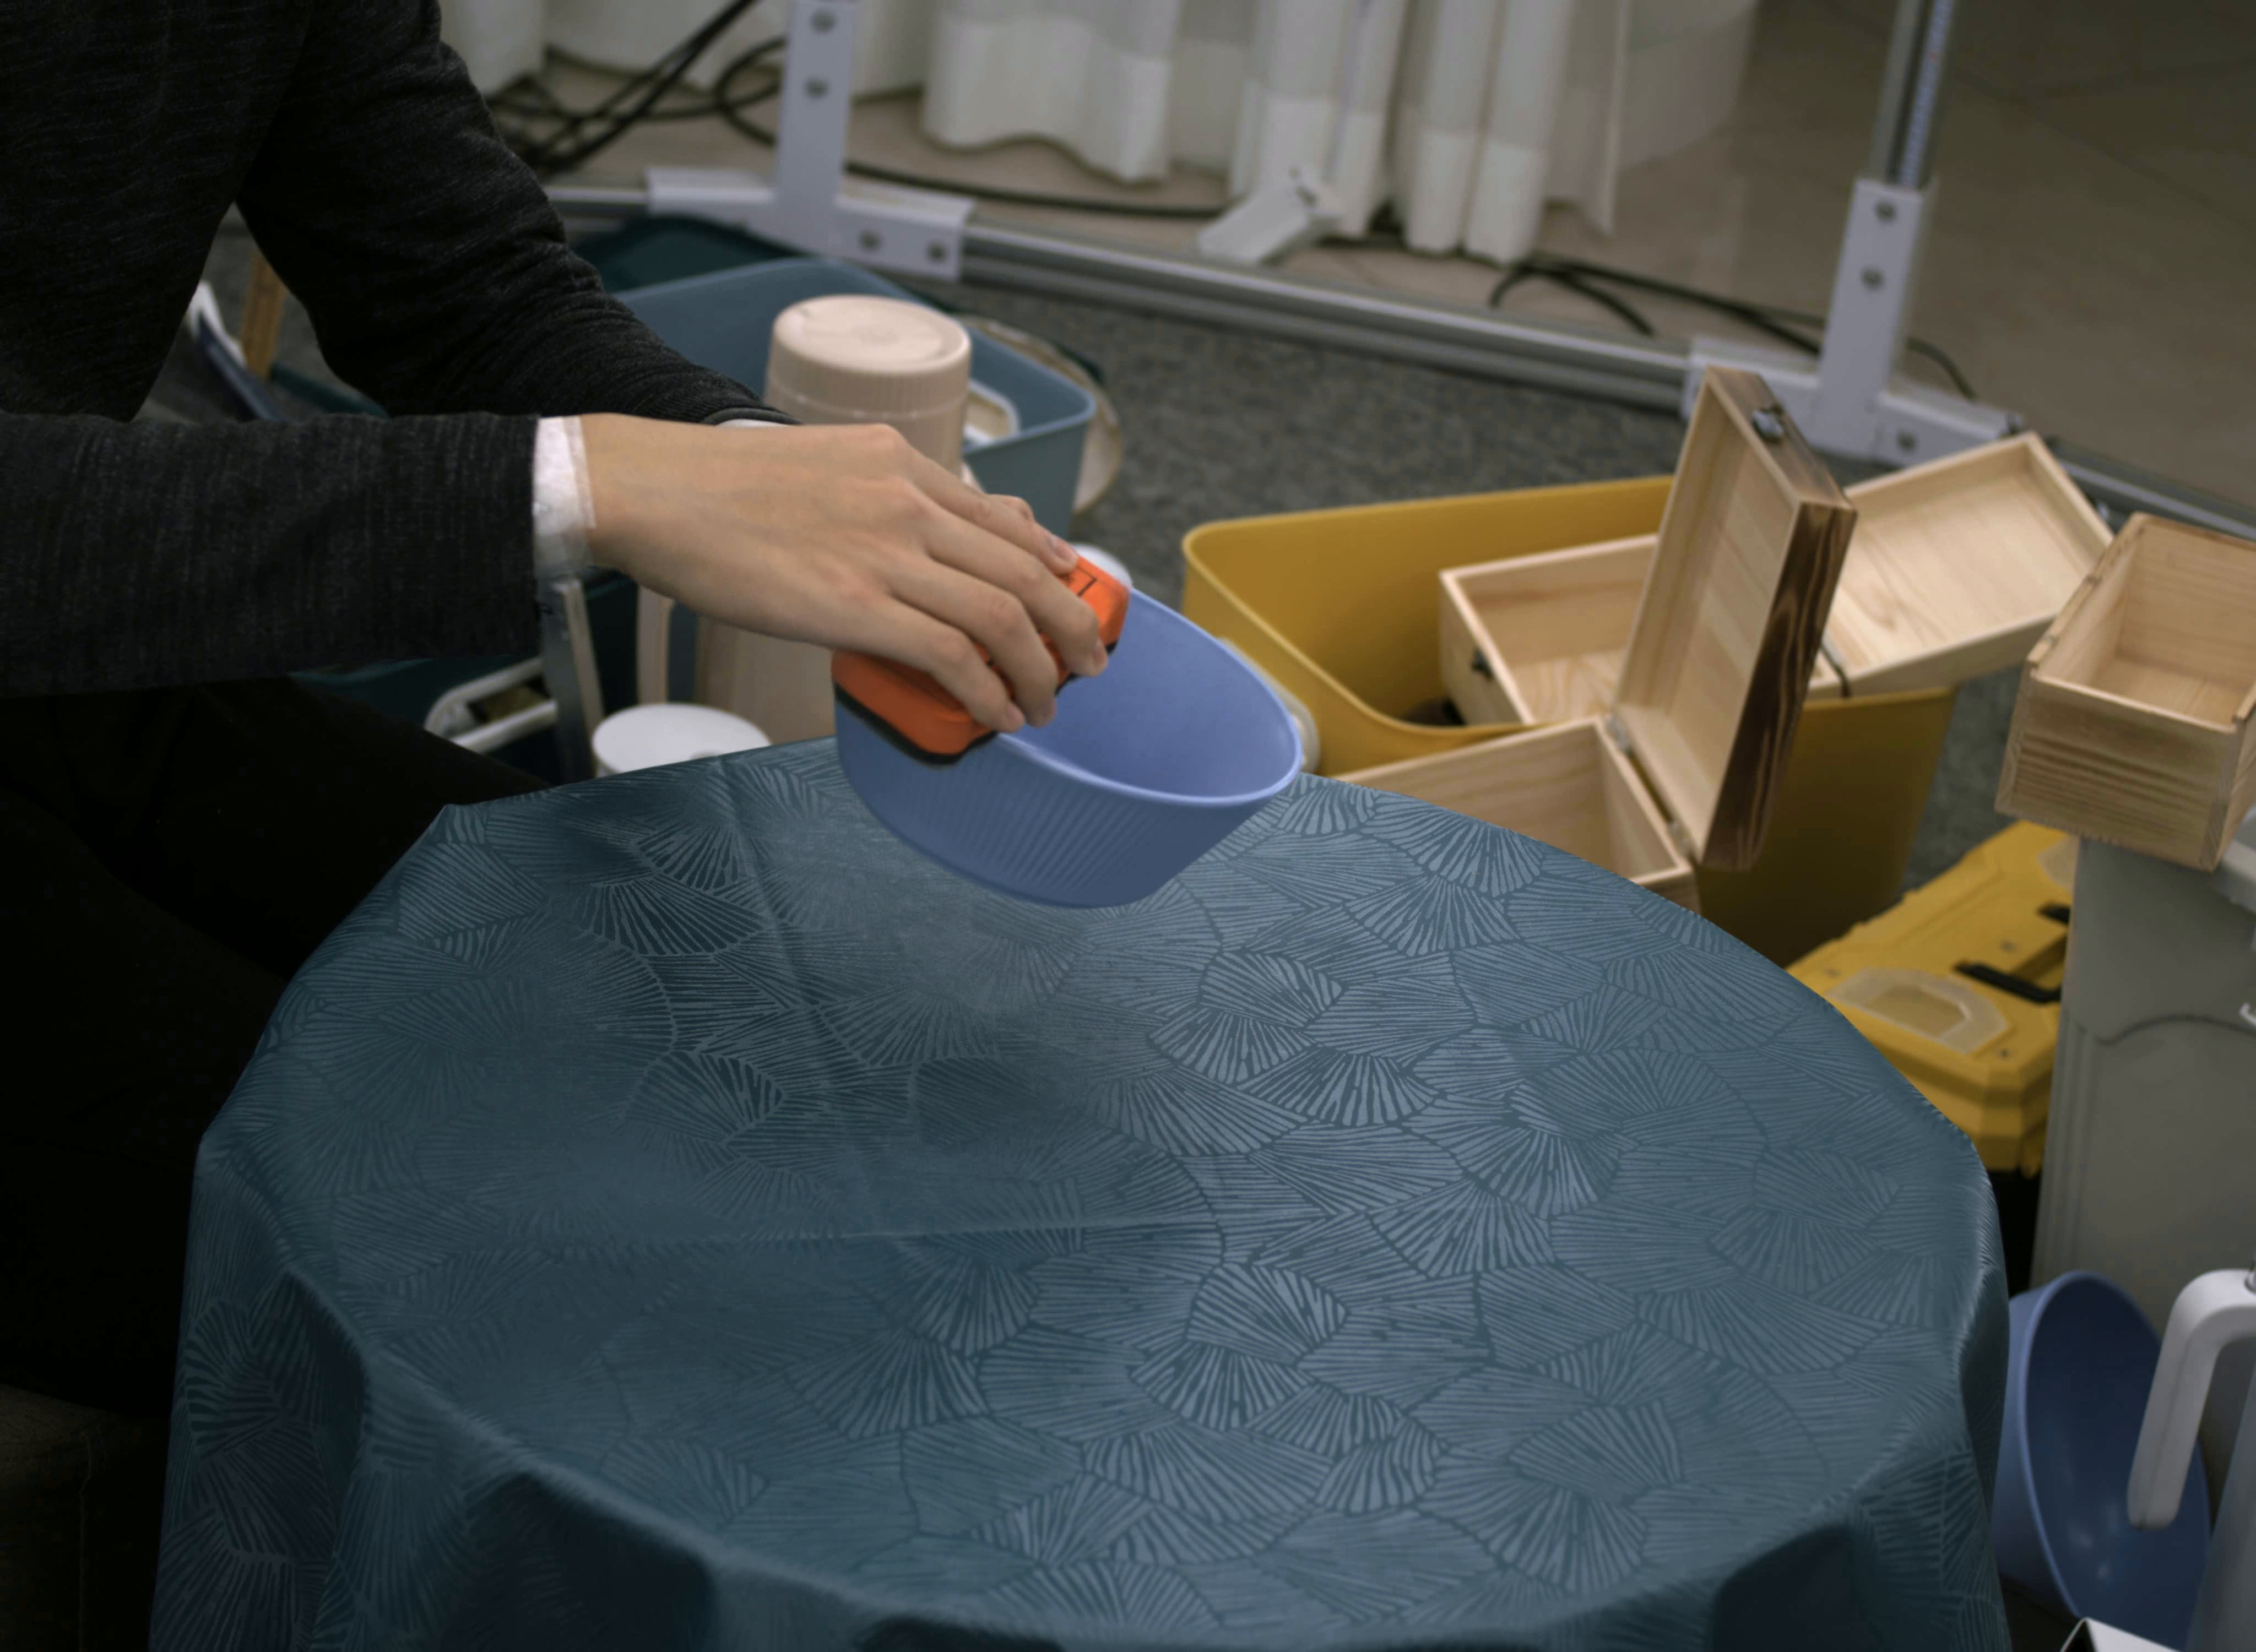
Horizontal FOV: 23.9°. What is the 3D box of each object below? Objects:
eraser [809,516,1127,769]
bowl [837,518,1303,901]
[{"bbox_3d":[-0.052,-0.061,1.752,0.059,0.023,0.108,35,43,18],"label":"eraser"},{"bbox_3d":[-0.031,-0.033,1.831,0.175,0.070,0.177,22,23,-10],"label":"bowl"}]
